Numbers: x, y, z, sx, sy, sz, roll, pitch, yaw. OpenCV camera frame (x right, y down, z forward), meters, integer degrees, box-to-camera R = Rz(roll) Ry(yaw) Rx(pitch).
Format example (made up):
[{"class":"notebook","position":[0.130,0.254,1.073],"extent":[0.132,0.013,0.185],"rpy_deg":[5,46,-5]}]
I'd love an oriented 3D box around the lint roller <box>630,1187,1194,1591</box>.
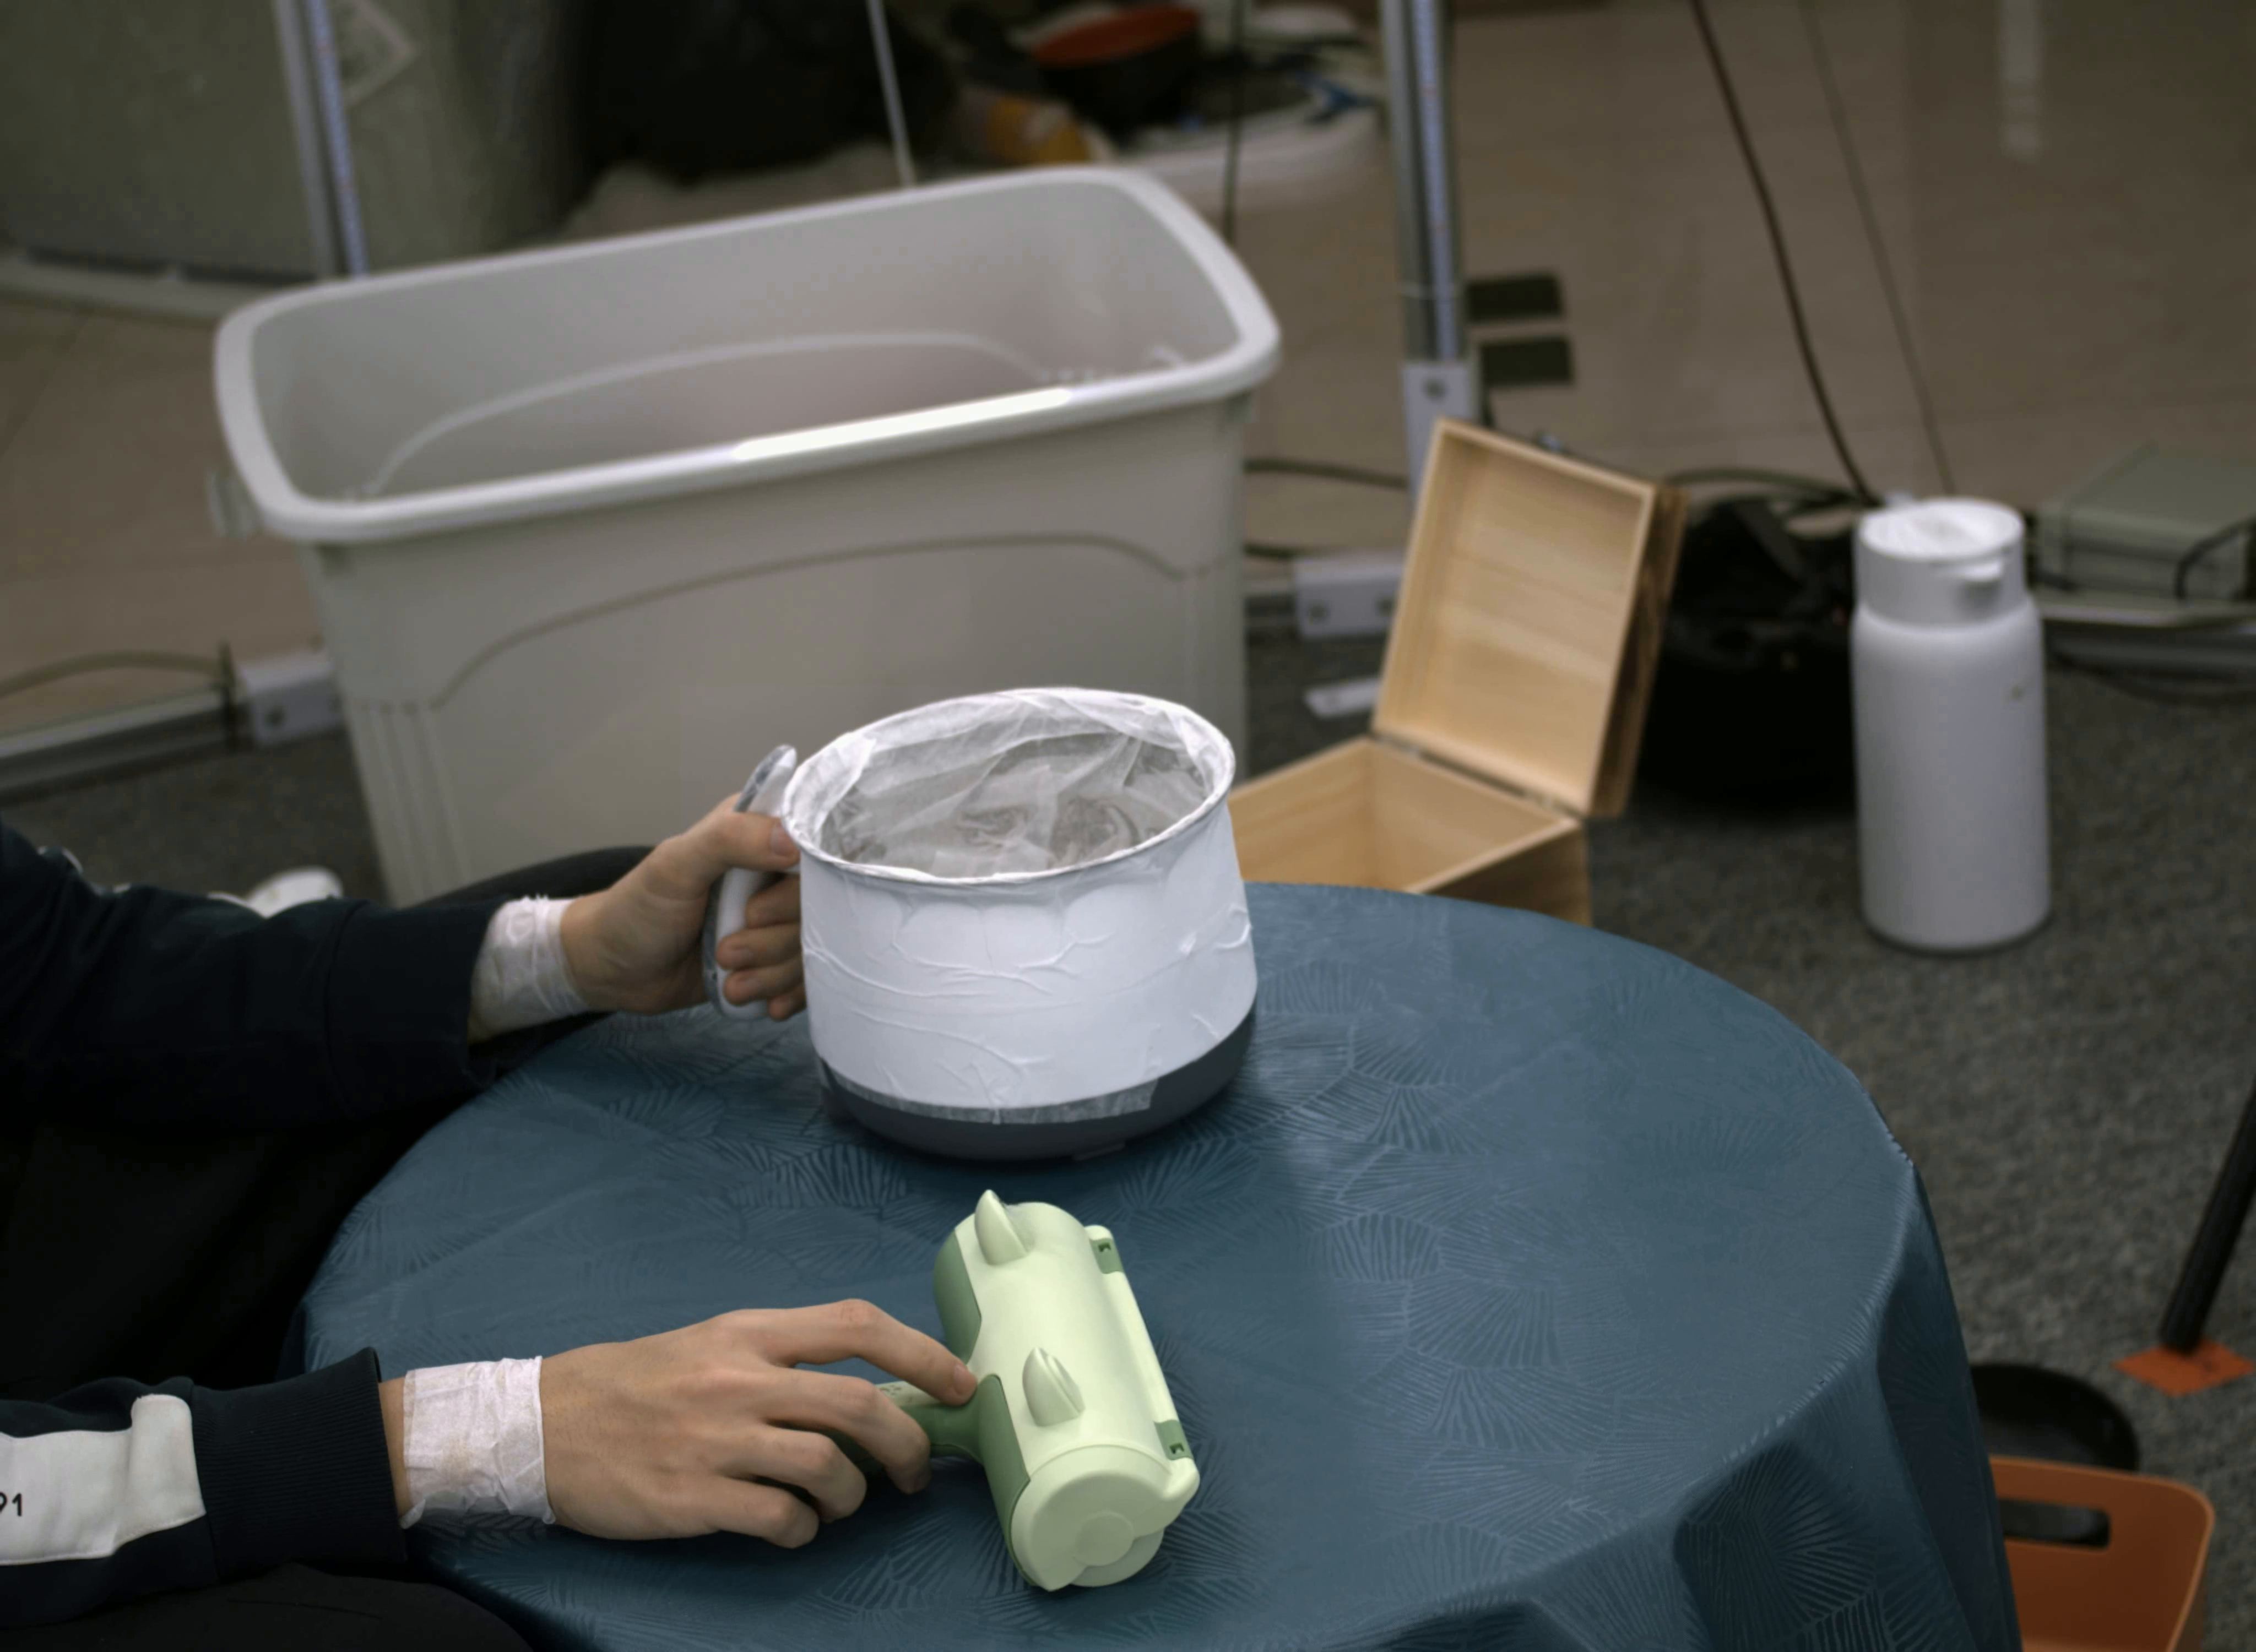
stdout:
[{"class":"lint roller","position":[-0.082,0.193,1.959],"extent":[0.183,0.083,0.196],"rpy_deg":[-5,25,-8]}]

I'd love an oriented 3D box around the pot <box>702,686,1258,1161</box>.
[{"class":"pot","position":[-0.065,0.036,2.213],"extent":[0.233,0.139,0.176],"rpy_deg":[7,28,24]}]
